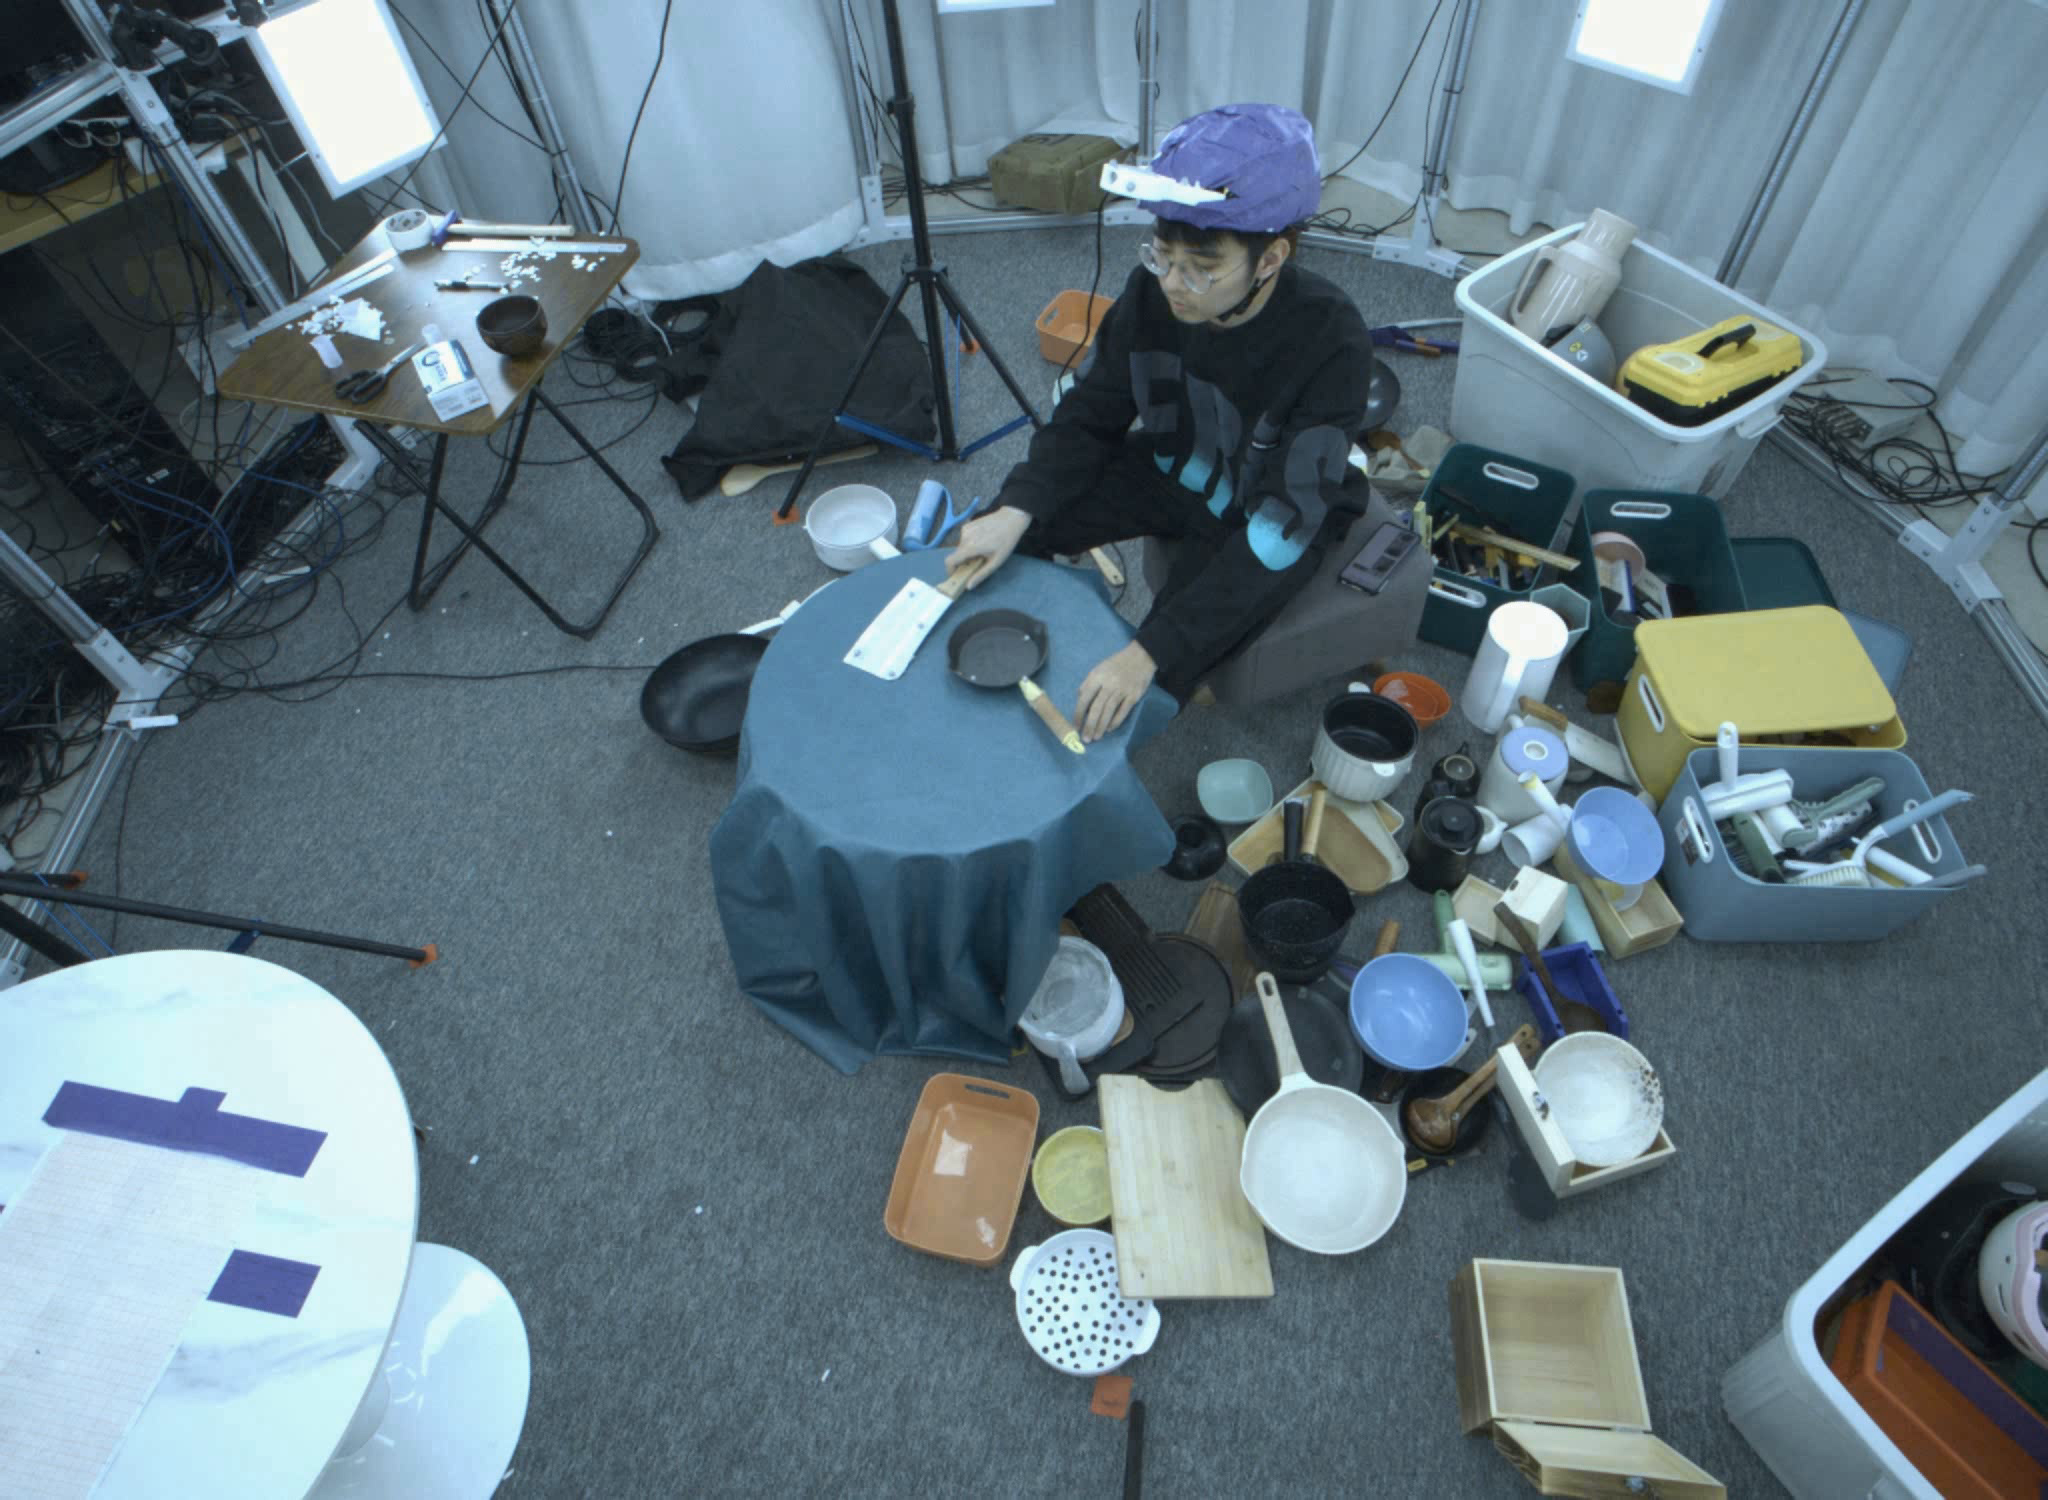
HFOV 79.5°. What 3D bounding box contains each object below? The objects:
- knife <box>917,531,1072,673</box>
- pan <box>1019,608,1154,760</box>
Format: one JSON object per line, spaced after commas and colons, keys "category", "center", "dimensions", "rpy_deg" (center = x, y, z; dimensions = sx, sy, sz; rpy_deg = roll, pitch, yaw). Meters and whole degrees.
{"category": "knife", "center": [-0.035, -0.237, 1.932], "dimensions": [0.112, 0.022, 0.316], "rpy_deg": [35, 70, 23]}
{"category": "pan", "center": [0.105, -0.092, 1.817], "dimensions": [0.170, 0.050, 0.318], "rpy_deg": [-22, 55, -13]}
